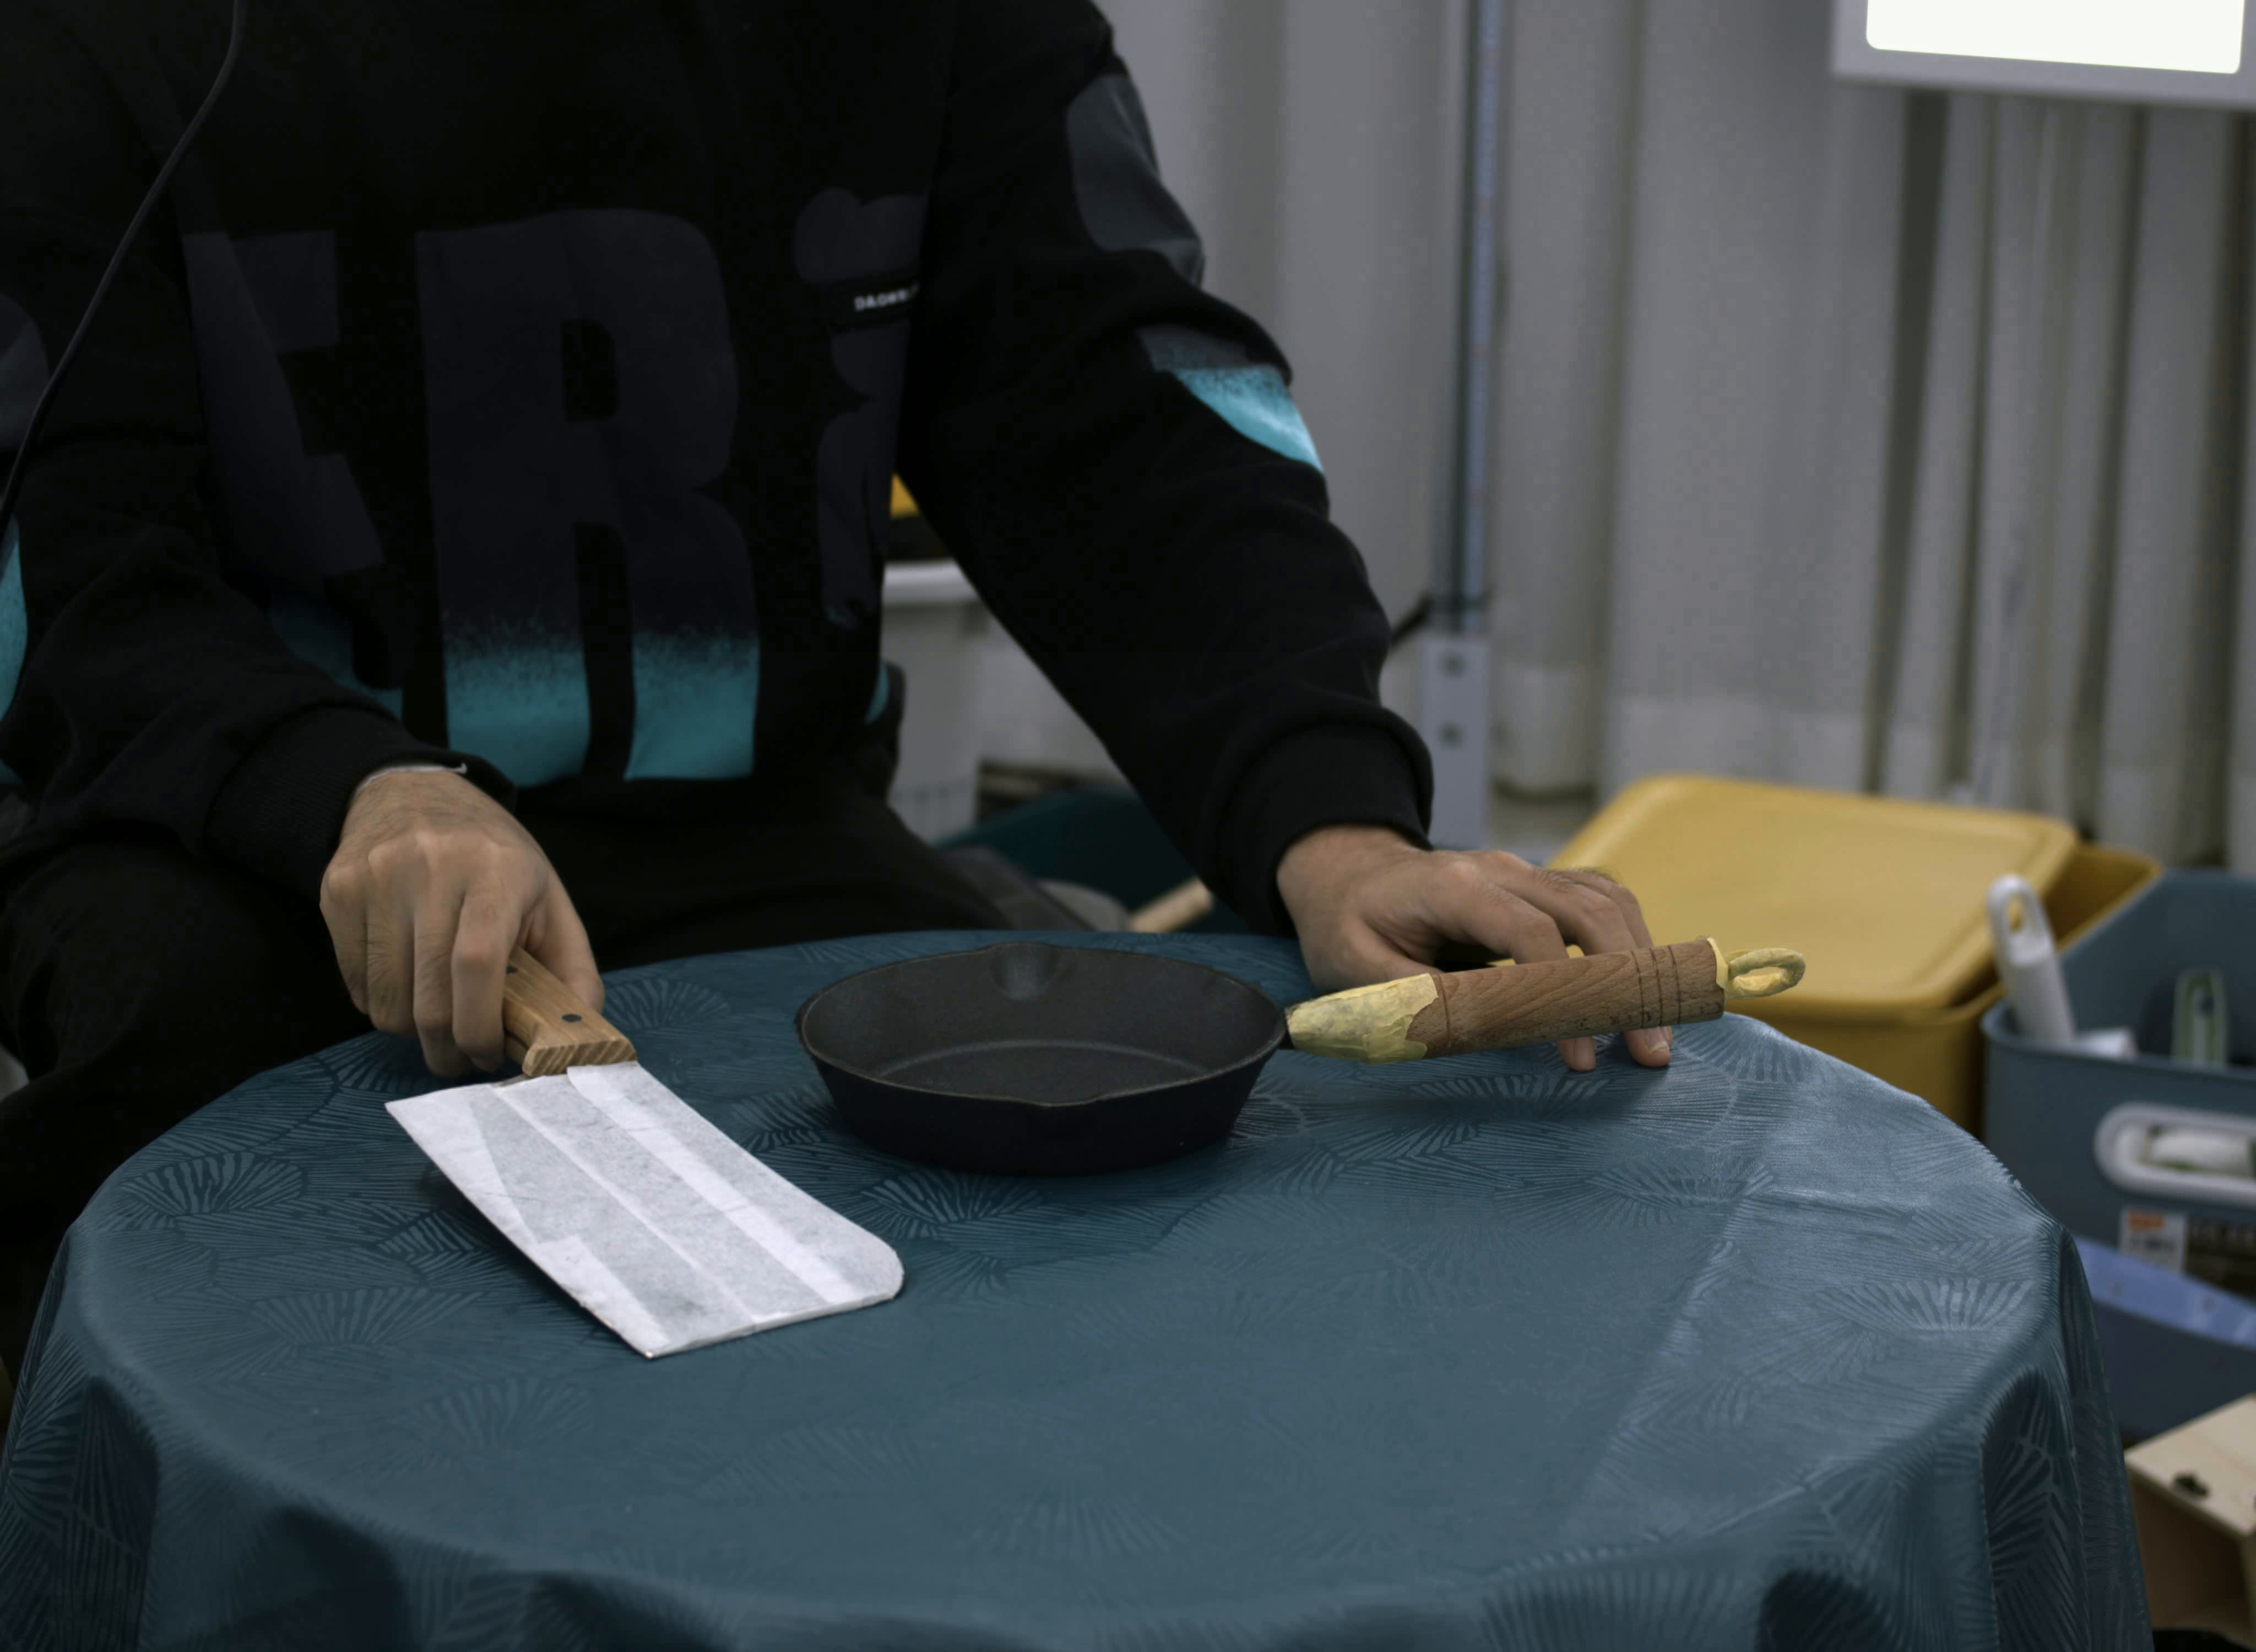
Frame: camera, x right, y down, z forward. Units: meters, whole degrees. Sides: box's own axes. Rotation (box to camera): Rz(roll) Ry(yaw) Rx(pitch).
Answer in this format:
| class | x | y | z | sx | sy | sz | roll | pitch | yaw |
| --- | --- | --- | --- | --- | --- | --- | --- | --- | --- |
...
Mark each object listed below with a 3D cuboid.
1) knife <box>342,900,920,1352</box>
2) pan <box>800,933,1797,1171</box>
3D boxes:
| class | x | y | z | sx | sy | sz | roll | pitch | yaw |
| --- | --- | --- | --- | --- | --- | --- | --- | --- | --- |
| knife | -0.169 | 0.089 | 1.627 | 0.114 | 0.022 | 0.311 | -7 | 24 | -28 |
| pan | 0.057 | 0.066 | 1.694 | 0.323 | 0.050 | 0.168 | -3 | 15 | -5 |
